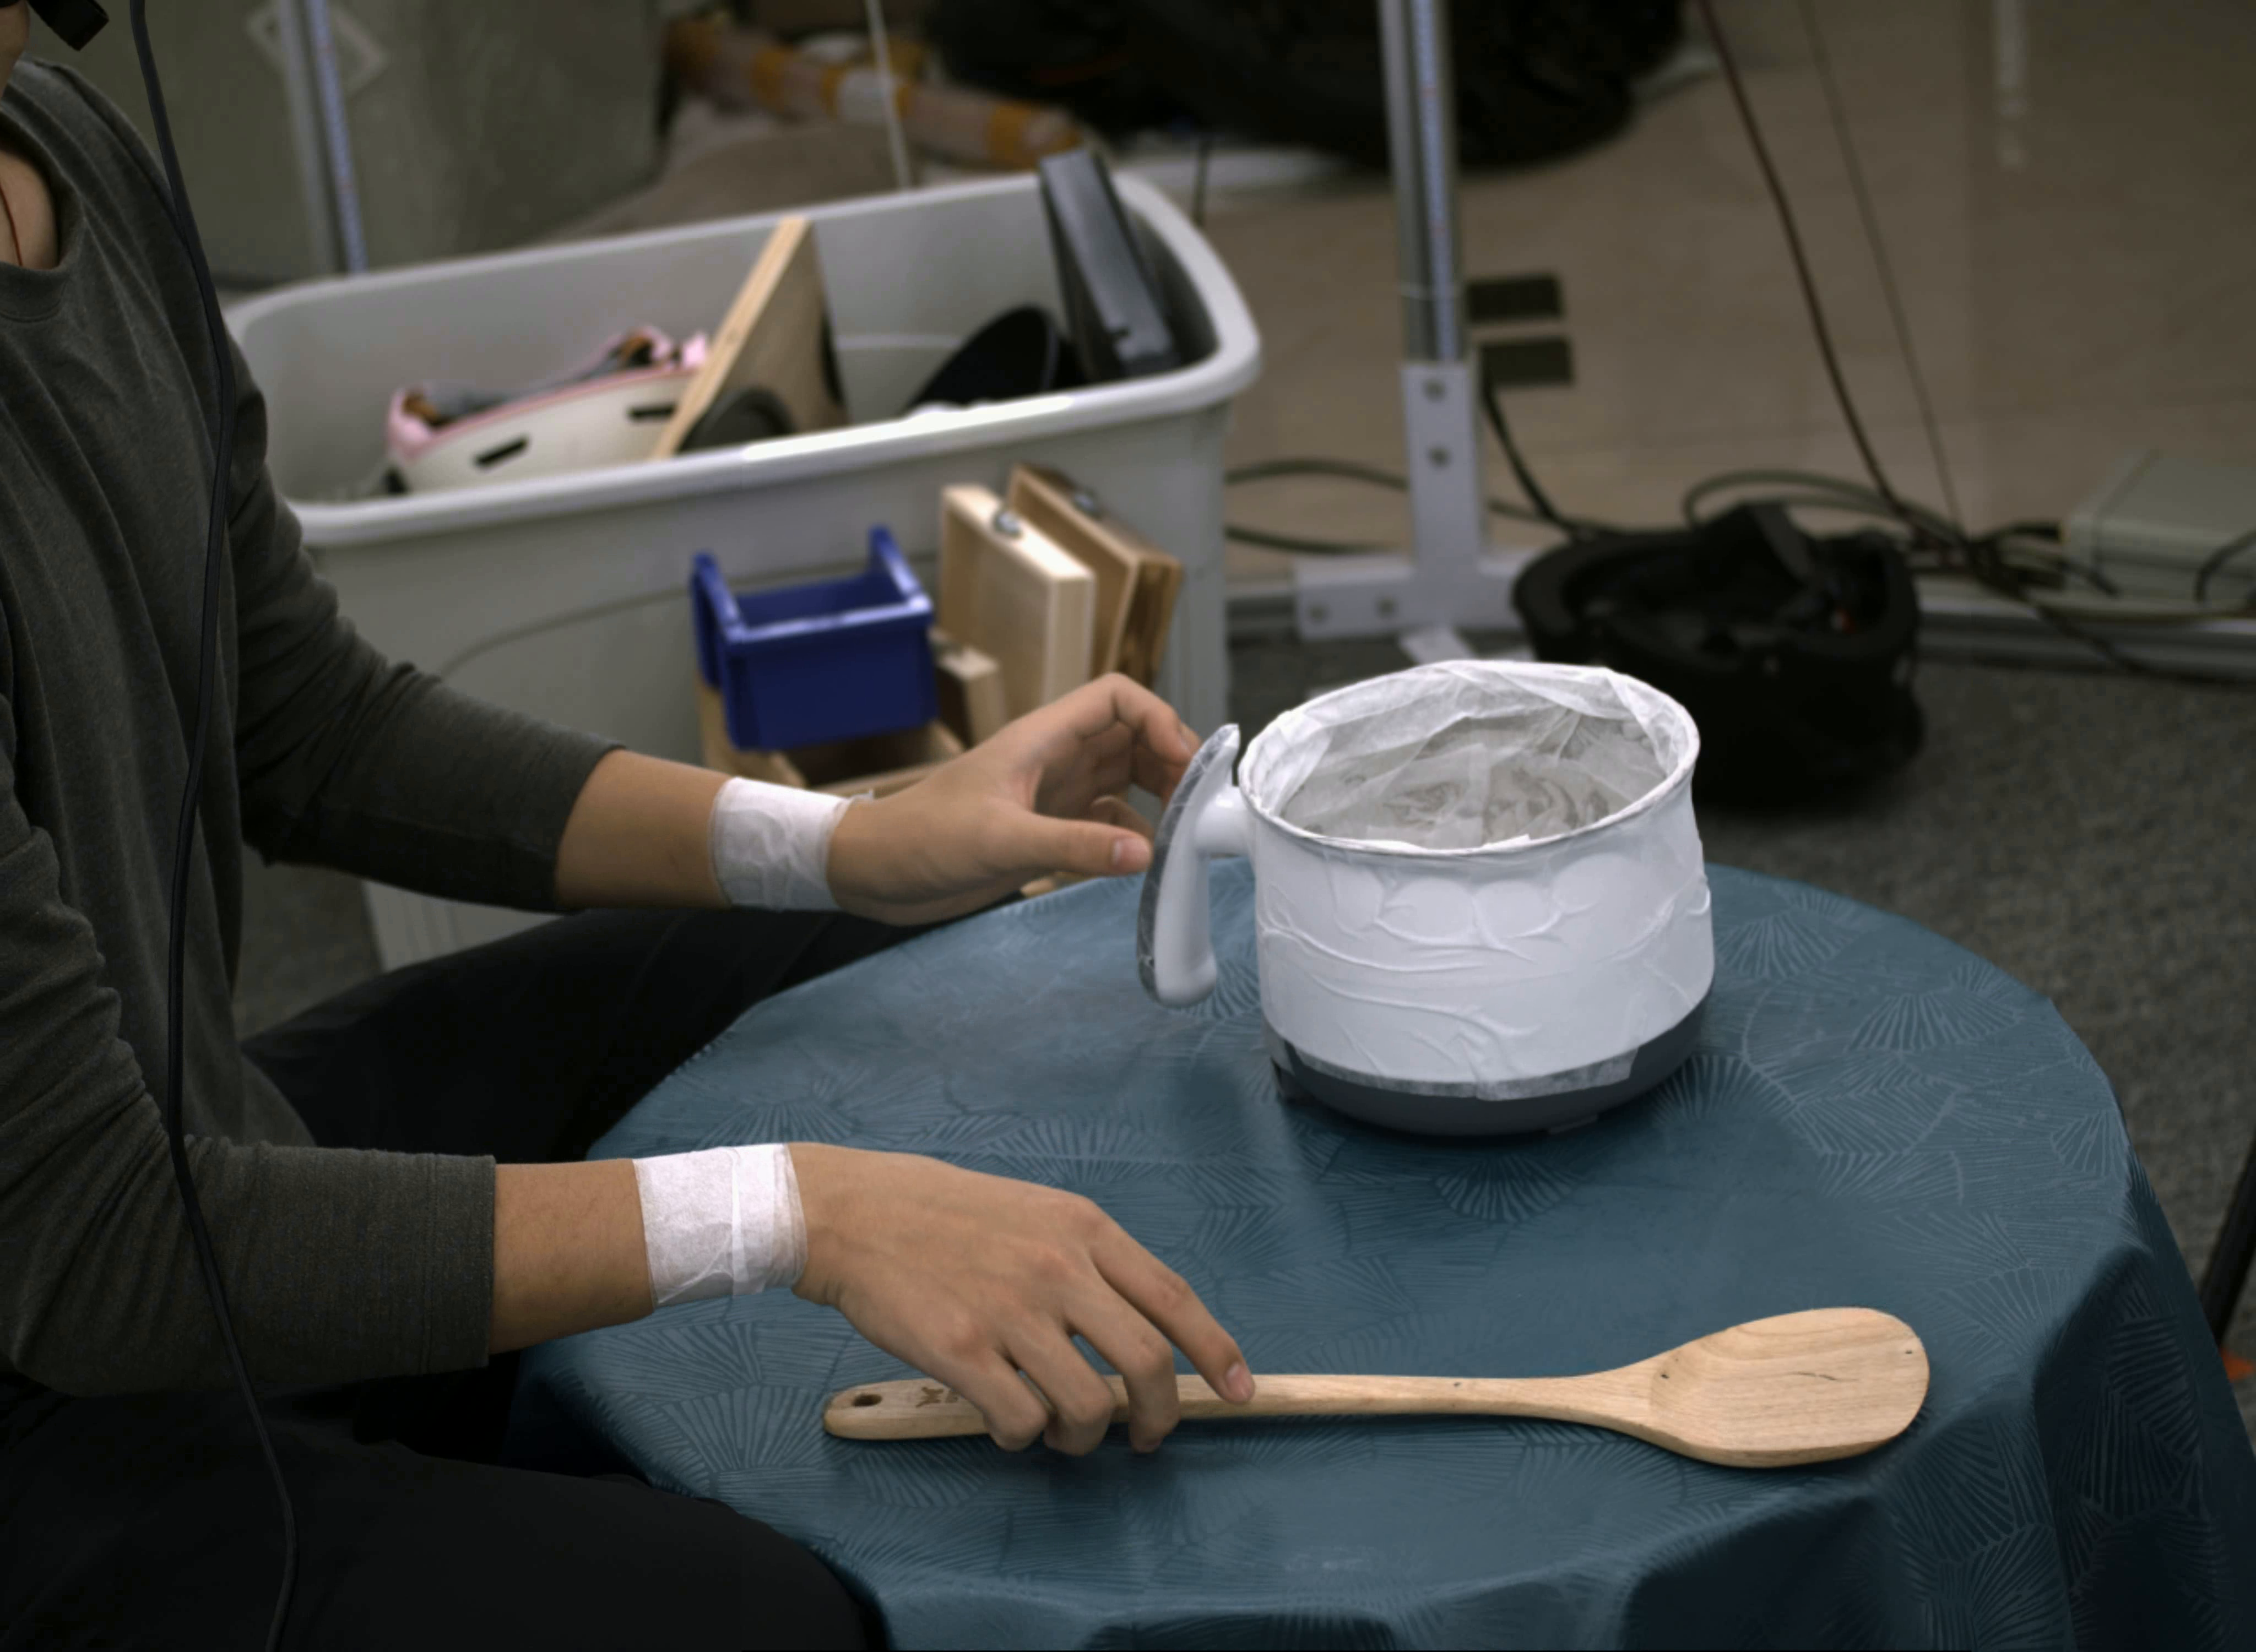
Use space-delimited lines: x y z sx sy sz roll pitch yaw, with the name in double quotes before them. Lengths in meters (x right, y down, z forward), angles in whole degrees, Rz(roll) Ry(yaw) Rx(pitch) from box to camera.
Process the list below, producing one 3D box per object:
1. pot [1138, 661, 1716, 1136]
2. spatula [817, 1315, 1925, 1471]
"pot" 0.111 0.028 2.199 0.233 0.139 0.176 4 27 21
"spatula" 0.080 0.201 1.977 0.390 0.019 0.094 -2 23 10
